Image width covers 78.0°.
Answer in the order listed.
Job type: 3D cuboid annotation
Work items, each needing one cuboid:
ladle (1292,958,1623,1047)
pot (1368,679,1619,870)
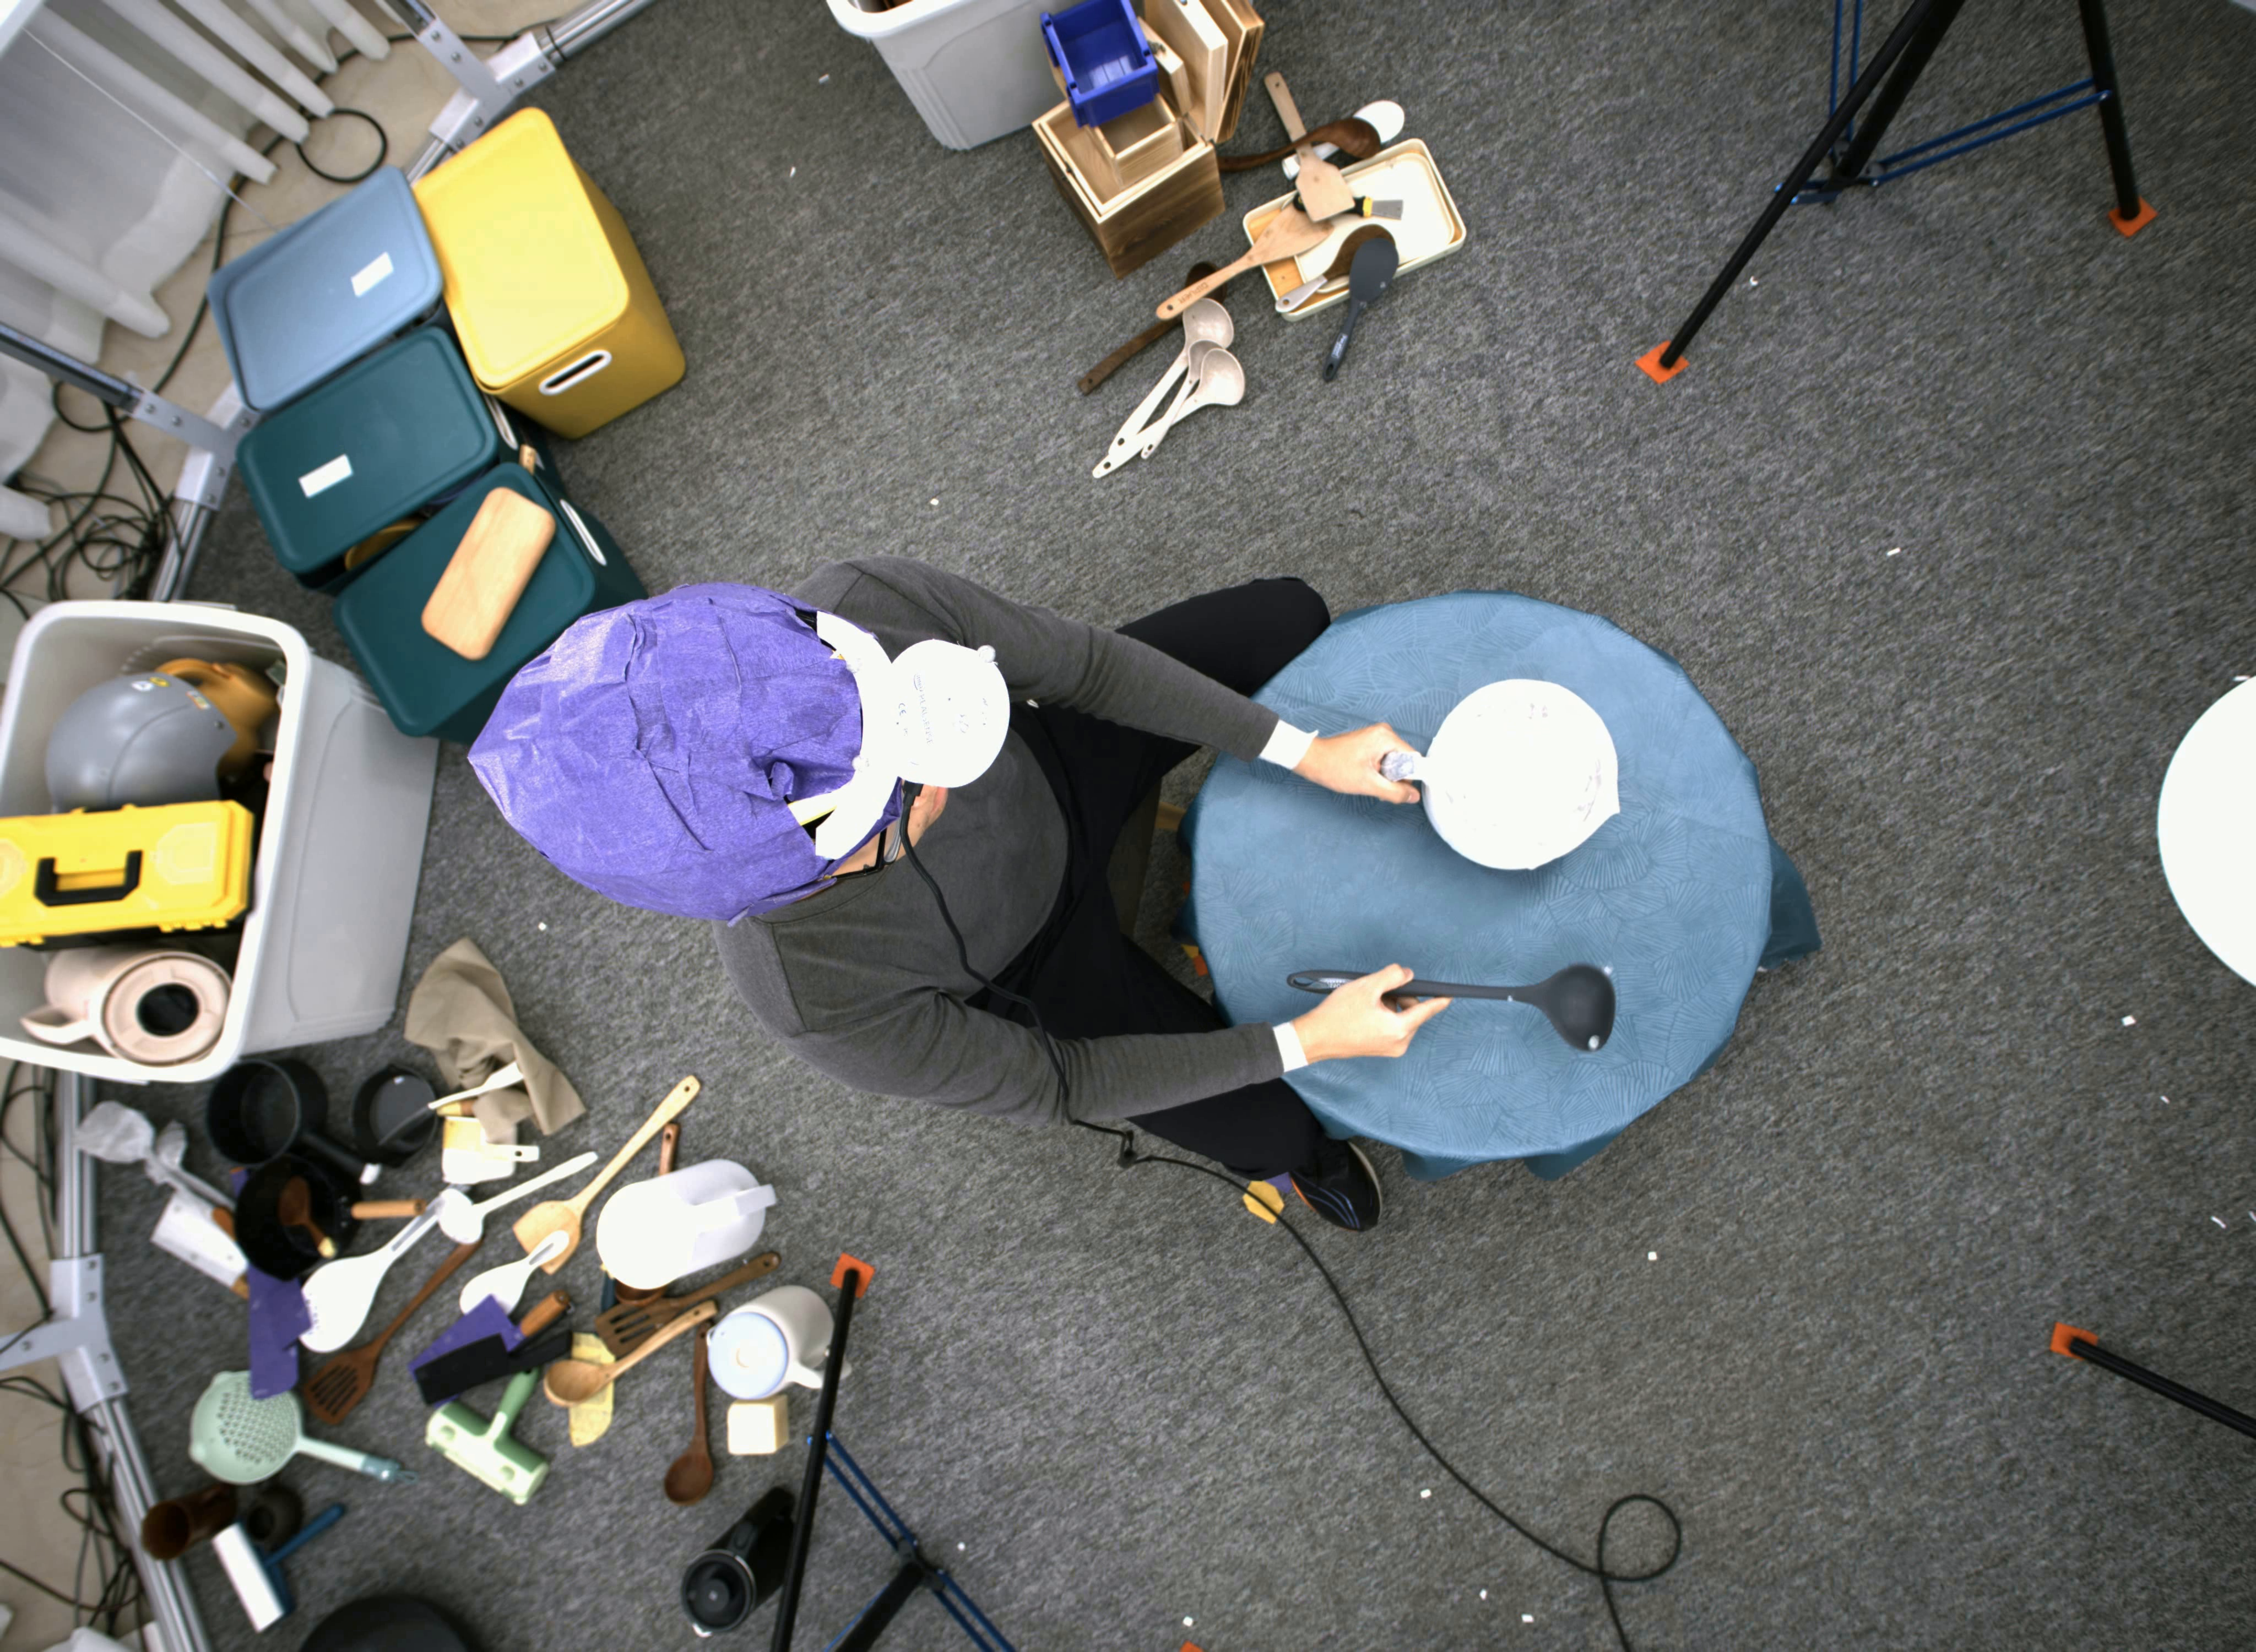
[{"bbox_3d":[0.316,0.159,1.329,0.314,0.063,0.086,3,94,2],"label":"ladle"},{"bbox_3d":[0.359,-0.051,1.375,0.234,0.137,0.178,4,86,9],"label":"pot"}]
